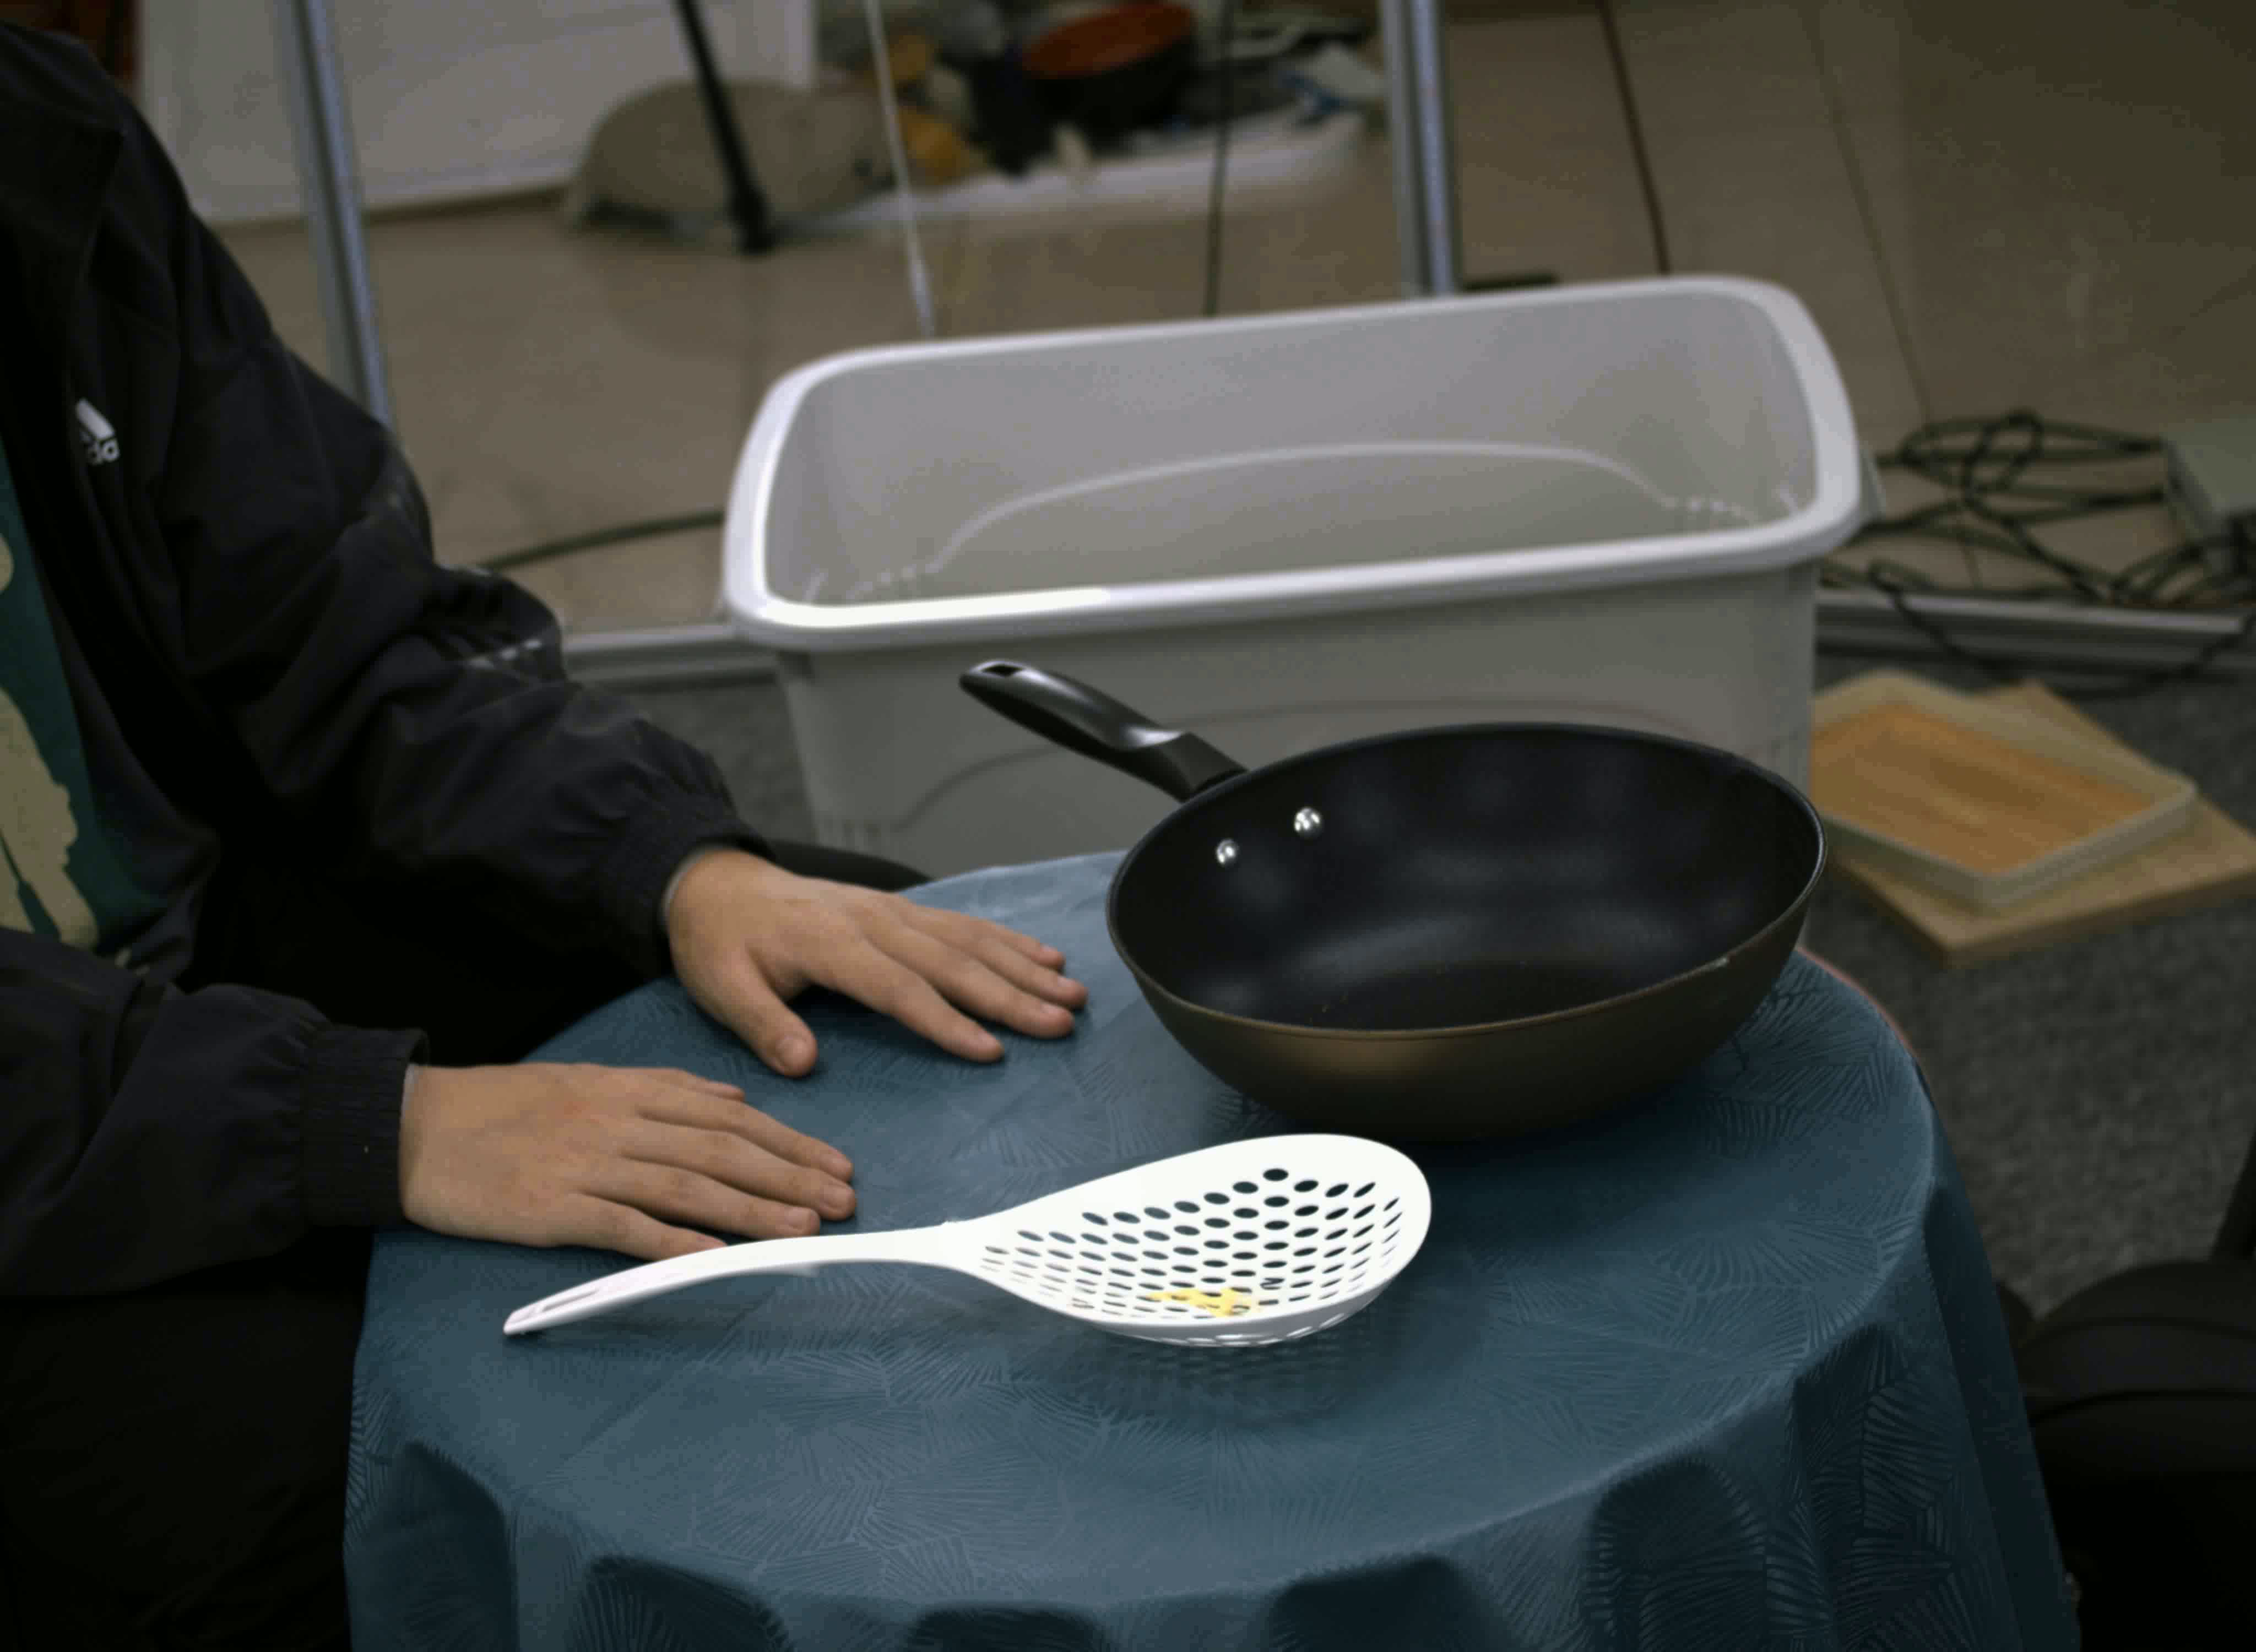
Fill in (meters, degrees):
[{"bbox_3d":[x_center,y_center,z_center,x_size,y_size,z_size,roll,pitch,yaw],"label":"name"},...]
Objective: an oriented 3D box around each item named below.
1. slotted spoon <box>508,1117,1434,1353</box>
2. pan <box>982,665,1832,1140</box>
[{"bbox_3d":[-0.060,0.162,2.063,0.347,0.051,0.135,-2,27,11],"label":"slotted spoon"},{"bbox_3d":[0.079,0.027,2.269,0.286,0.088,0.459,-22,28,-31],"label":"pan"}]
